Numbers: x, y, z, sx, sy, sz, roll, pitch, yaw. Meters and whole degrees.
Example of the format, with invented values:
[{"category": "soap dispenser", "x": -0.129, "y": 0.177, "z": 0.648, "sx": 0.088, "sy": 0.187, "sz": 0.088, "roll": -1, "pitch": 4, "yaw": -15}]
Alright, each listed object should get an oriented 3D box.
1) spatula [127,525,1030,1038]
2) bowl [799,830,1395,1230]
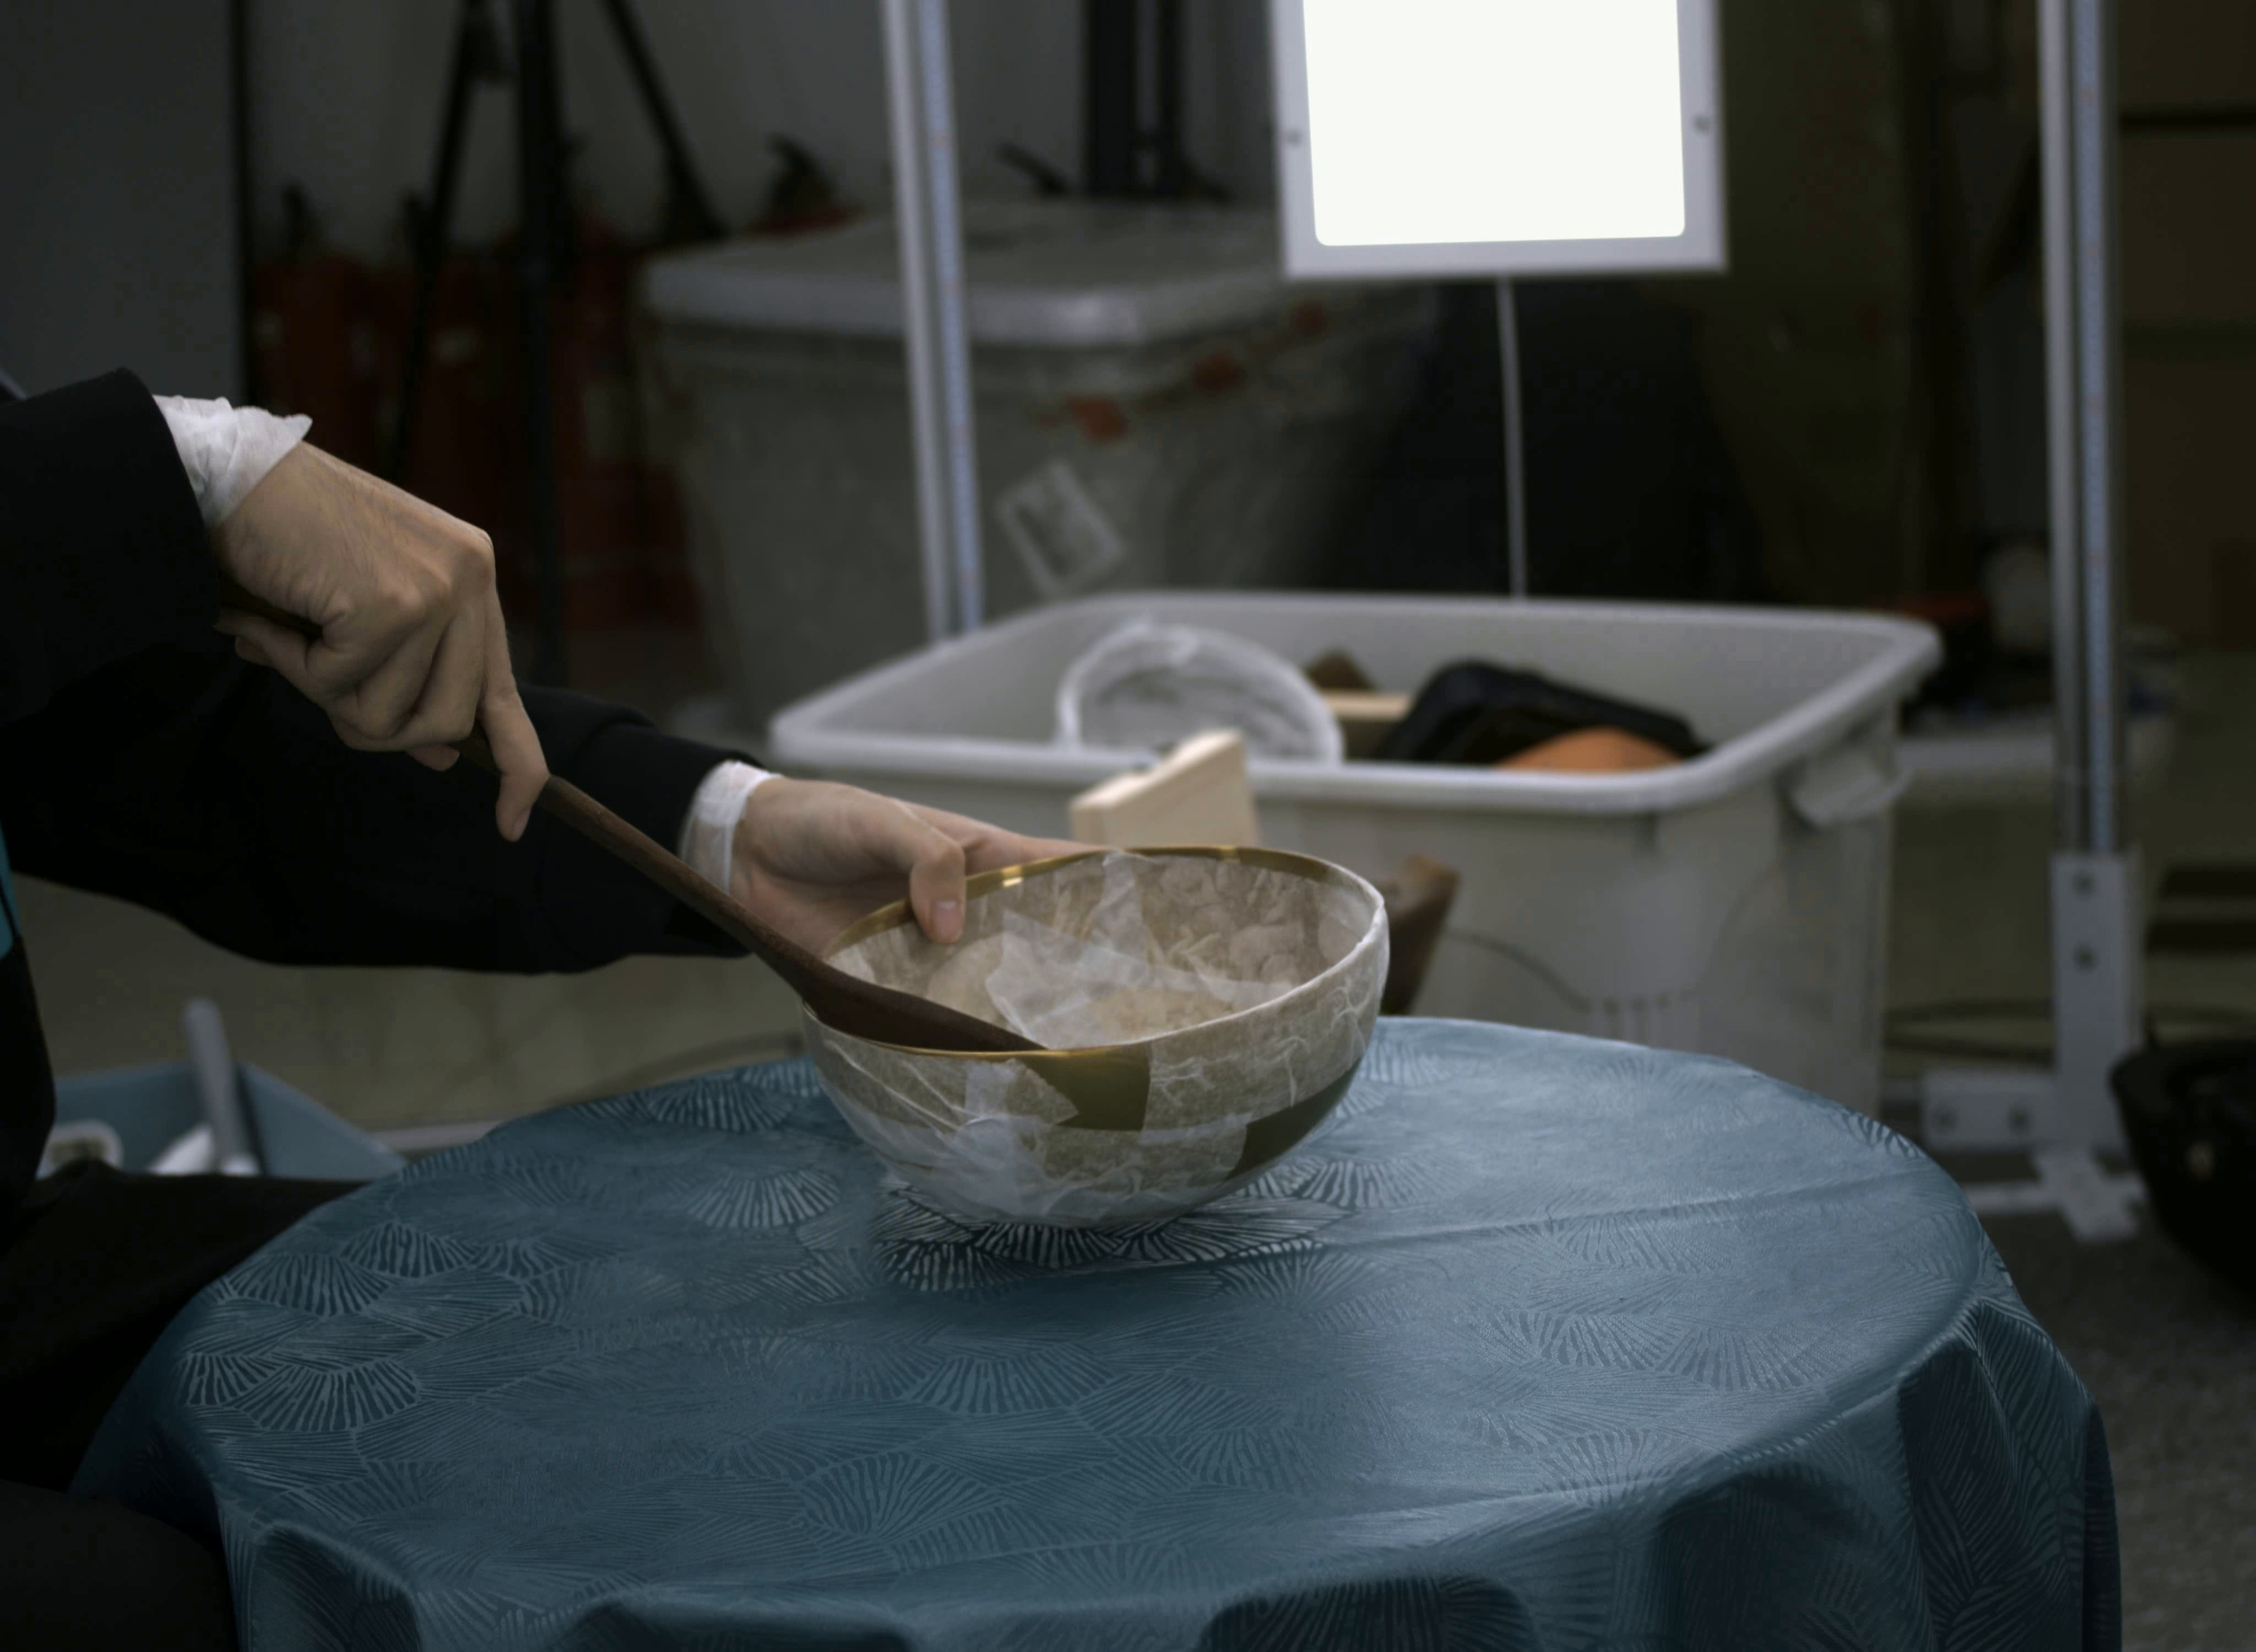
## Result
[{"category": "spatula", "x": -0.165, "y": 0.002, "z": 1.797, "sx": 0.380, "sy": 0.015, "sz": 0.098, "roll": 34, "pitch": -20, "yaw": -26}, {"category": "bowl", "x": -0.007, "y": 0.079, "z": 1.869, "sx": 0.214, "sy": 0.095, "sz": 0.214, "roll": -11, "pitch": 18, "yaw": 2}]
